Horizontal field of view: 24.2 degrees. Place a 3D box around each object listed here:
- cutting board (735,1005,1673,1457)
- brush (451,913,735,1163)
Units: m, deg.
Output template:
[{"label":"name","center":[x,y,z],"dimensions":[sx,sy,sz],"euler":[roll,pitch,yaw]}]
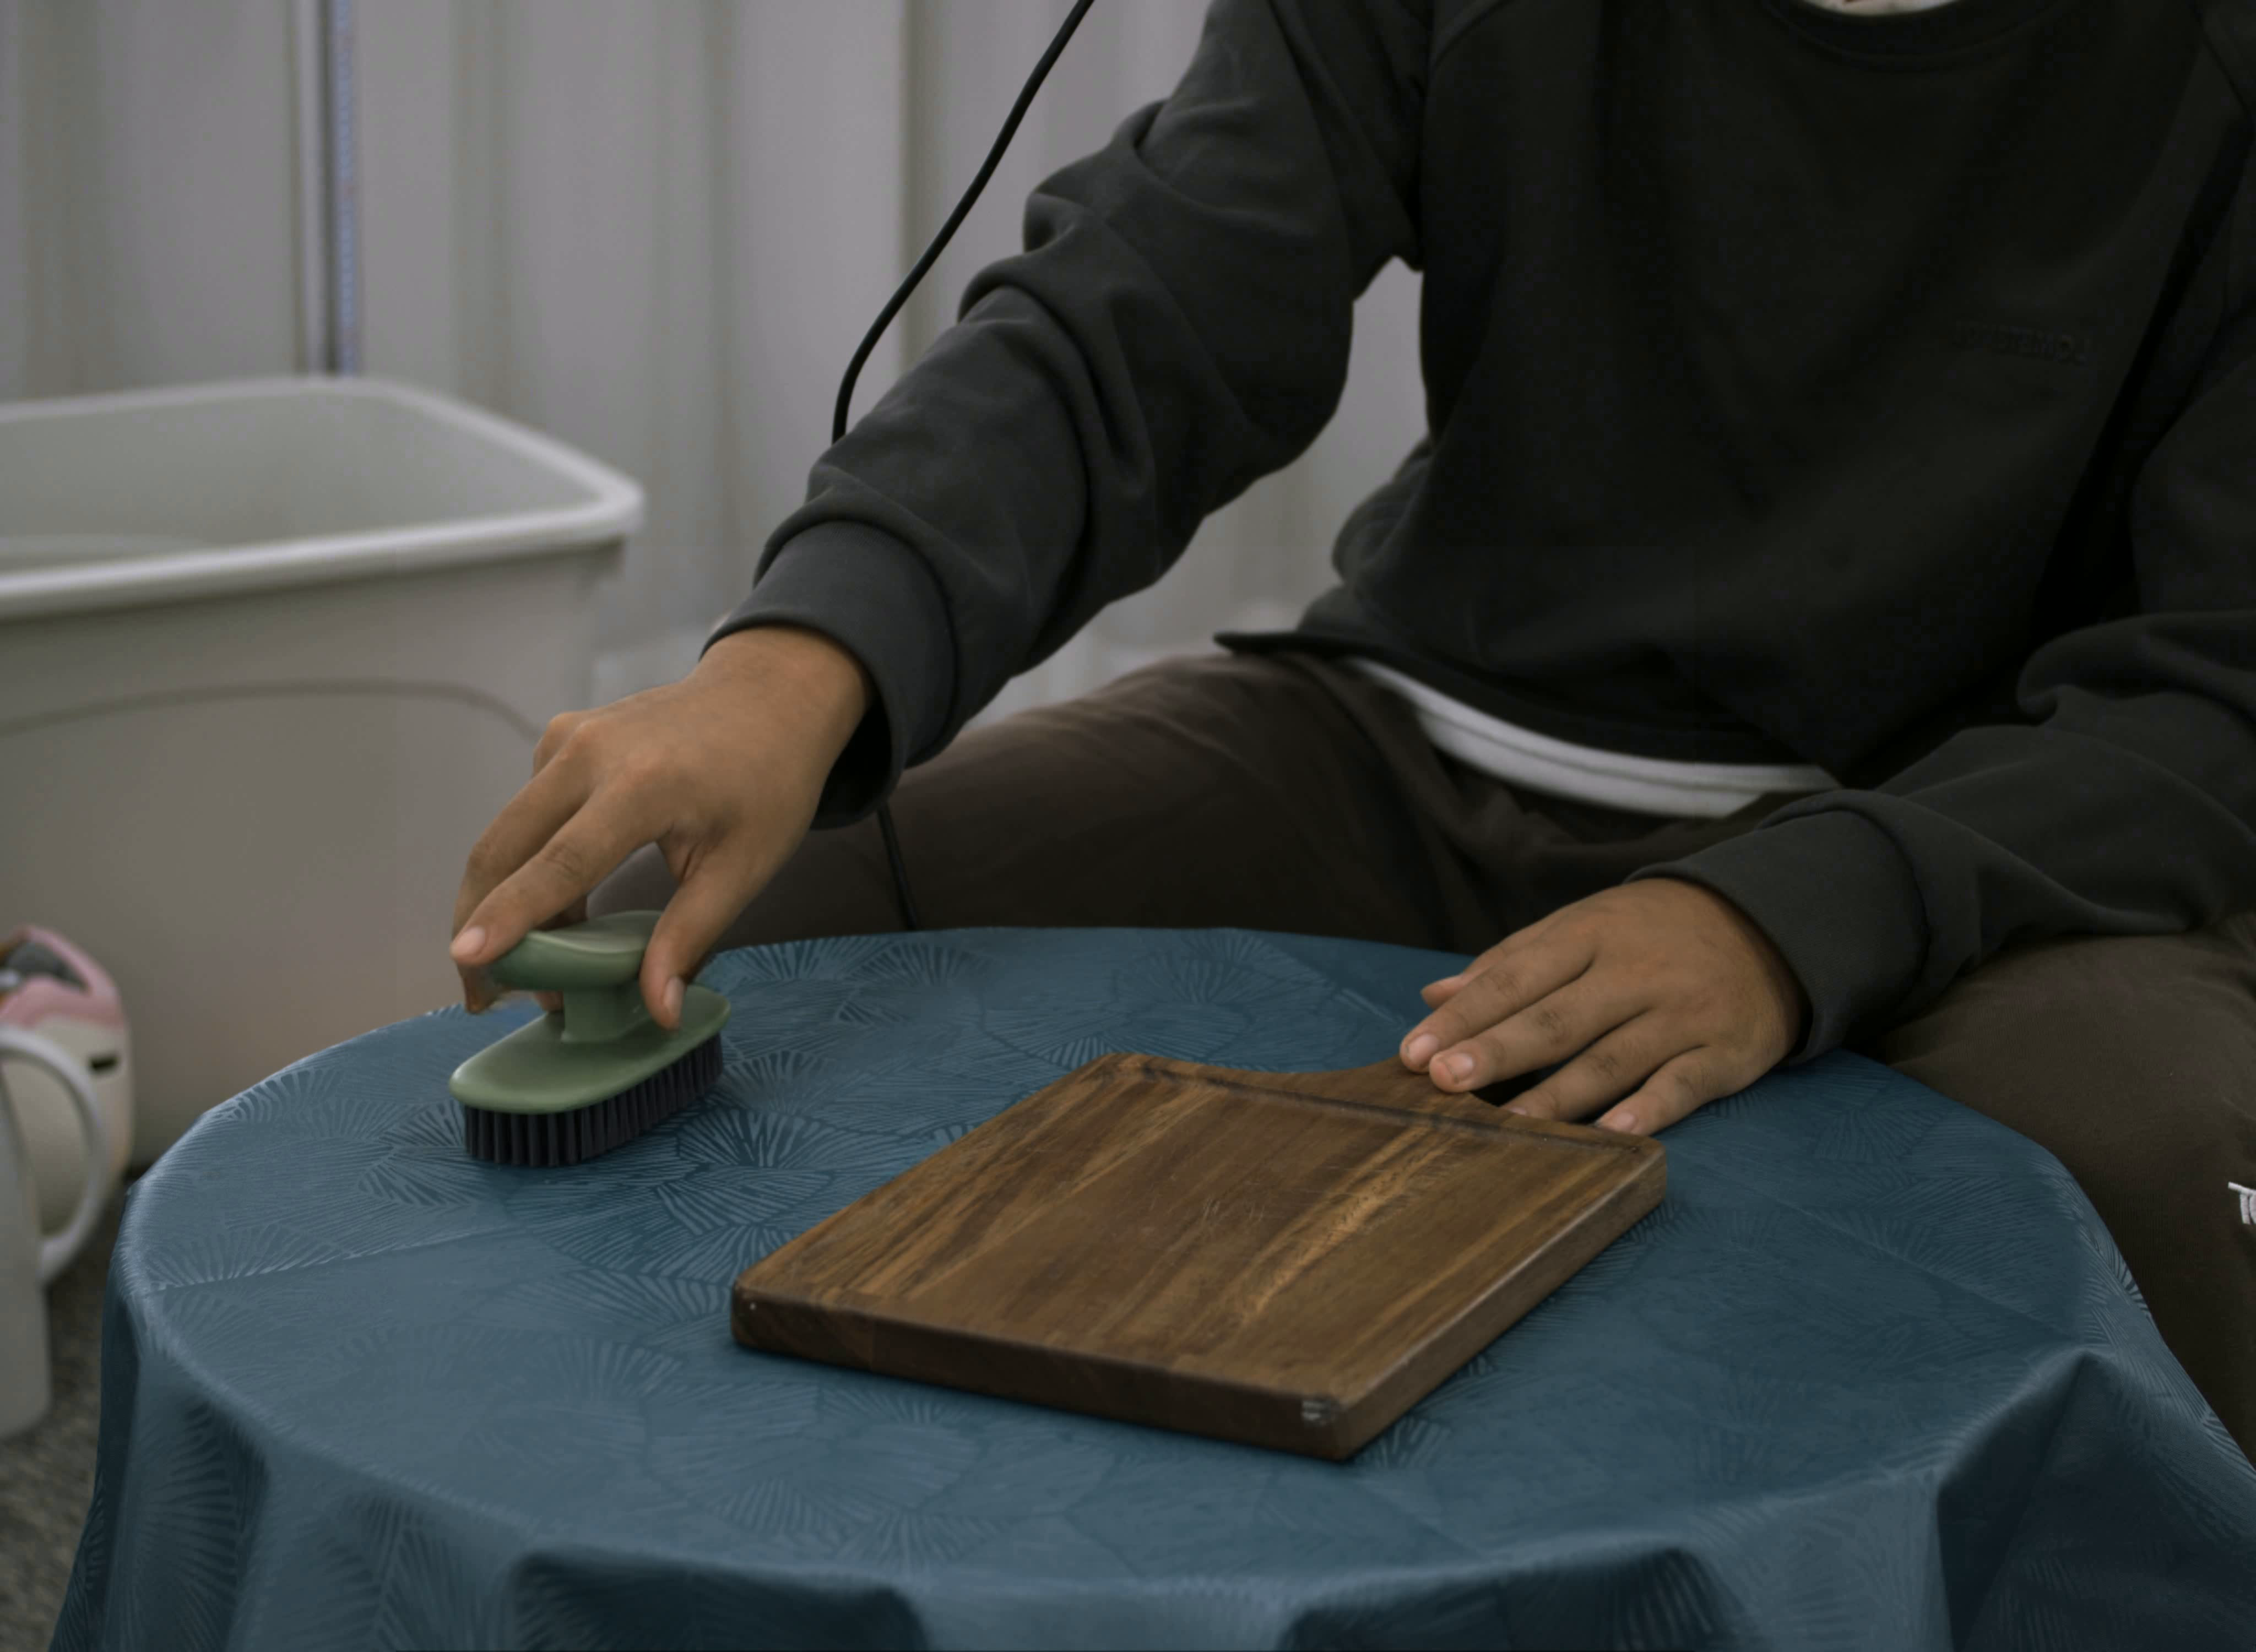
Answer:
[{"label":"cutting board","center":[0.050,0.110,1.599],"dimensions":[0.199,0.023,0.353],"euler":[8,17,25]},{"label":"brush","center":[-0.171,0.065,1.678],"dimensions":[0.059,0.076,0.123],"euler":[6,5,23]}]
